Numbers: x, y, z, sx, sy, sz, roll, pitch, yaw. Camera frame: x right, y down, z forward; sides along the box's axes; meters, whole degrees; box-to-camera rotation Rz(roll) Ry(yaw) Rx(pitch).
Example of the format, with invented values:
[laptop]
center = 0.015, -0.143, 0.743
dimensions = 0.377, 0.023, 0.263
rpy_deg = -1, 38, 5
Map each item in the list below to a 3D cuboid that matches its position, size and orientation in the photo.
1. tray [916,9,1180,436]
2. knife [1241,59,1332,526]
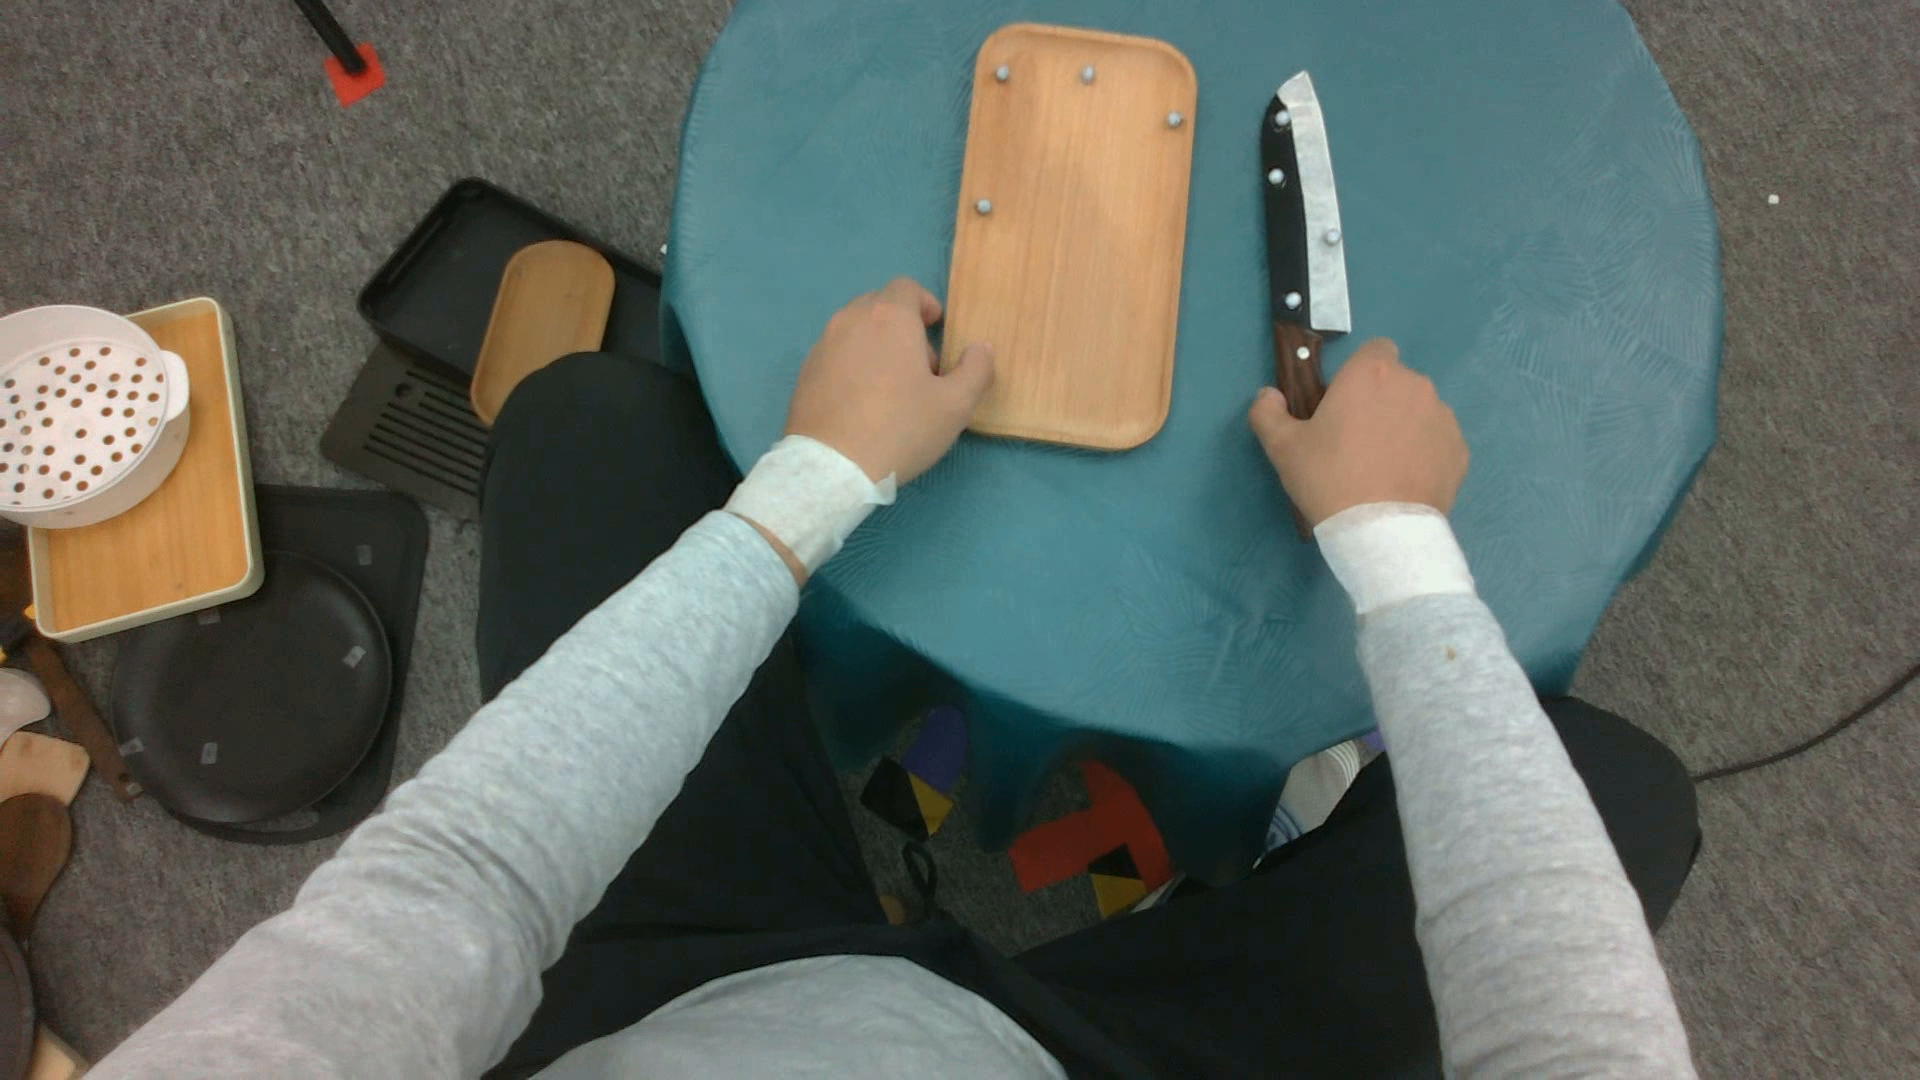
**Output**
[tray]
center = 0.052, -0.180, 0.771
dimensions = 0.130, 0.023, 0.251
rpy_deg = 8, 76, 1
[knife]
center = 0.184, -0.146, 0.770
dimensions = 0.050, 0.020, 0.290
rpy_deg = 5, 72, -12
